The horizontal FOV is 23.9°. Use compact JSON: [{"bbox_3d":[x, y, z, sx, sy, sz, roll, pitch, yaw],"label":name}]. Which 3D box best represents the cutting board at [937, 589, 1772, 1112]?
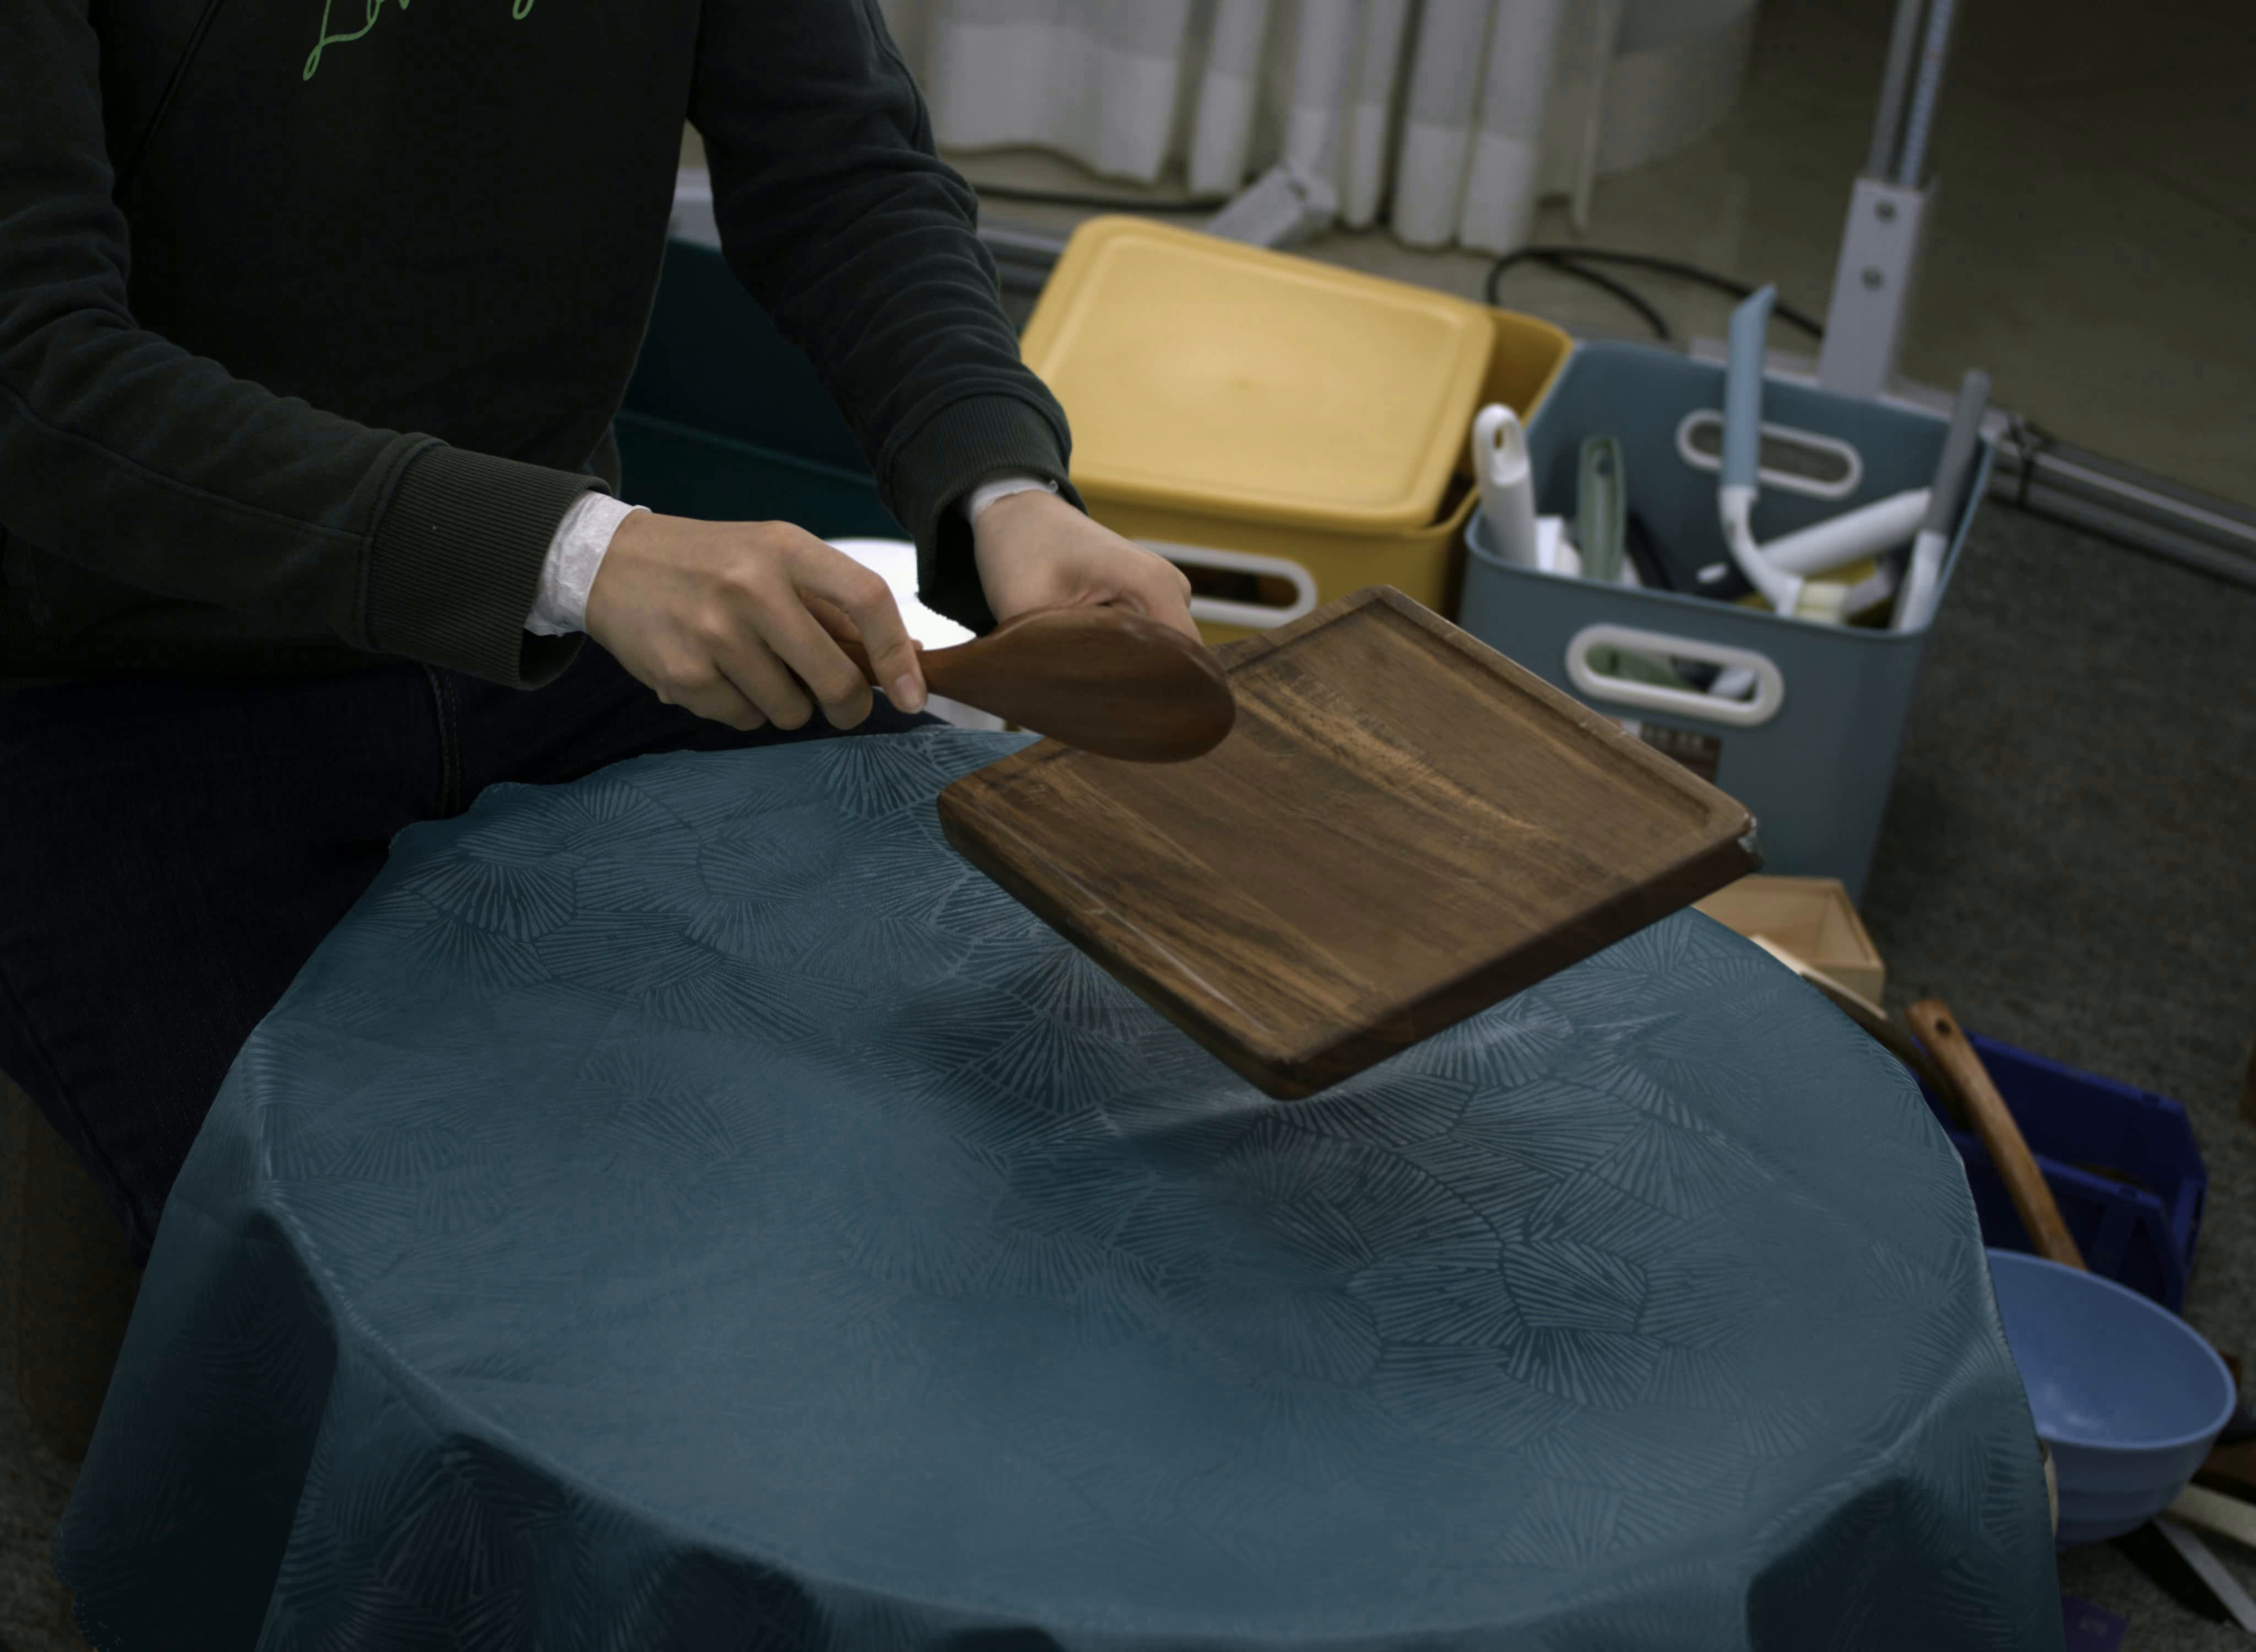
[{"bbox_3d":[0.050,-0.015,1.872,0.200,0.023,0.355,-27,31,-18],"label":"cutting board"}]

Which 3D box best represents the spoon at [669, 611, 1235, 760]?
[{"bbox_3d":[-0.063,-0.050,1.811,0.216,0.075,0.017,6,55,28],"label":"spoon"}]
